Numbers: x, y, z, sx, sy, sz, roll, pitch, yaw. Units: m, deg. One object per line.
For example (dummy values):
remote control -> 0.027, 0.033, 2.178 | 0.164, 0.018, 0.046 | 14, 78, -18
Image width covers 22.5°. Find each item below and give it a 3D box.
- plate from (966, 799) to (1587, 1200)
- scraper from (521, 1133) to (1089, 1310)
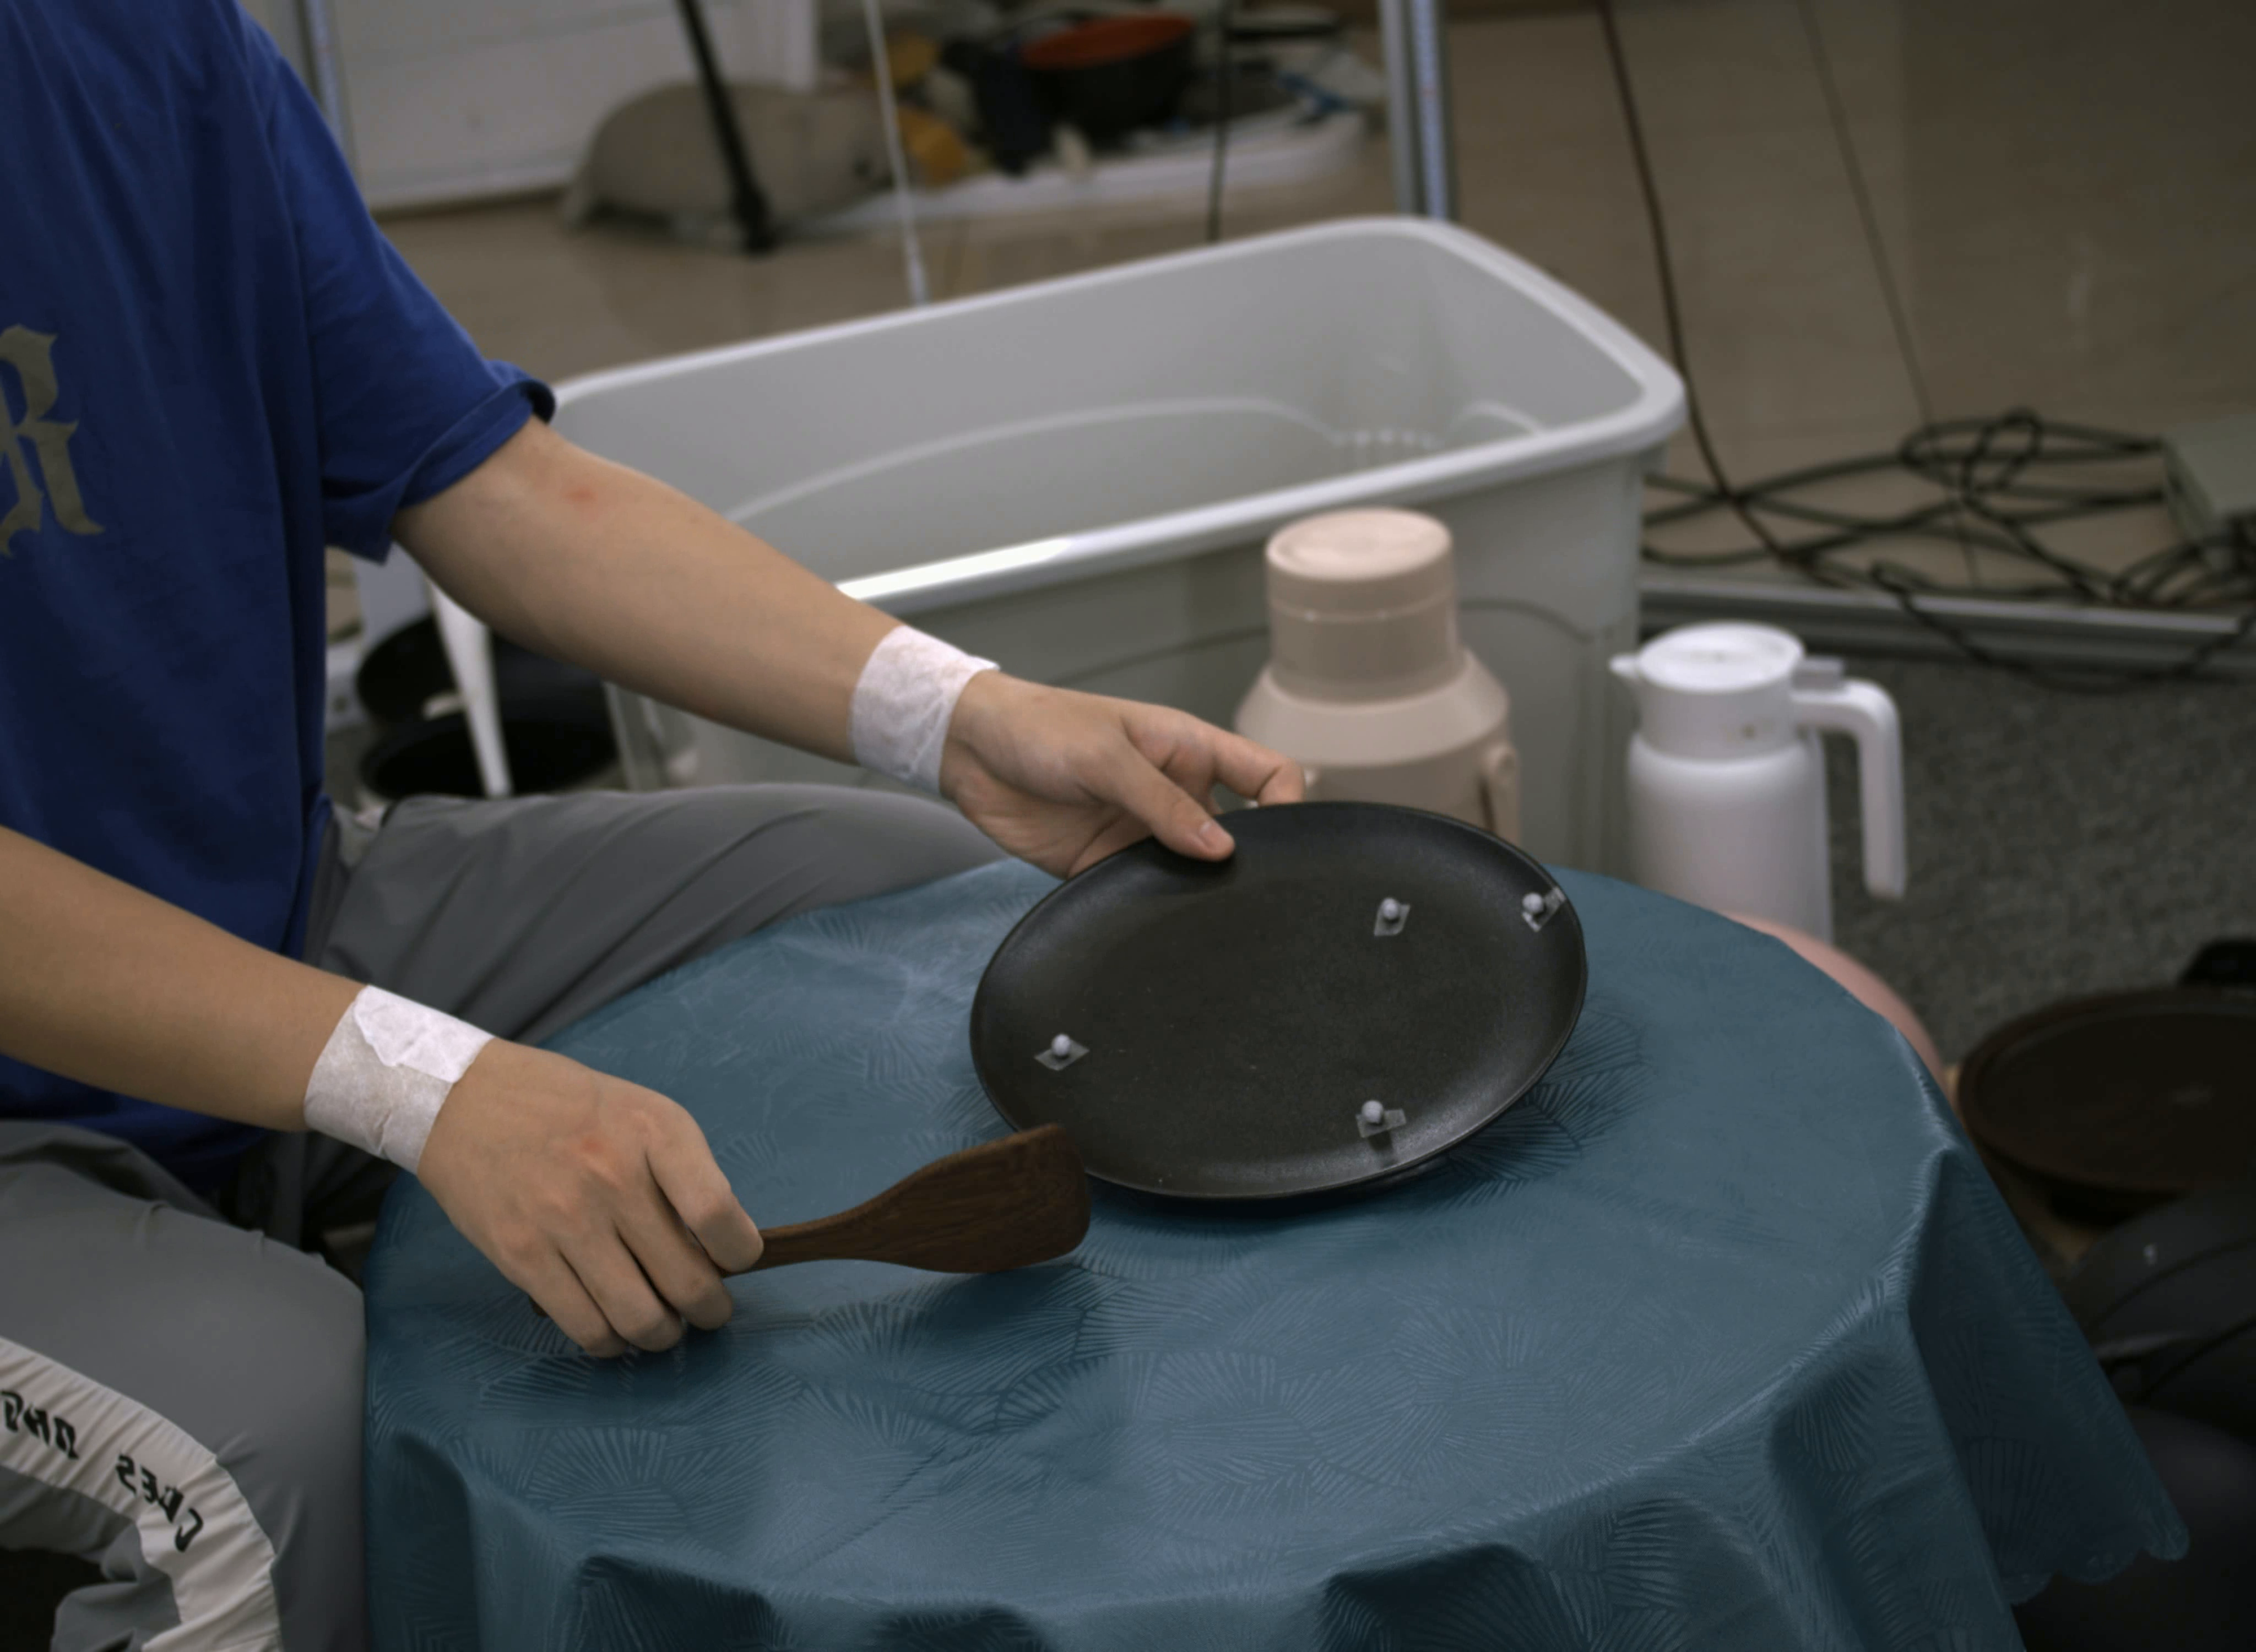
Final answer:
plate -> 0.058, 0.071, 2.204 | 0.244, 0.024, 0.240 | -7, 37, 5
scraper -> -0.118, 0.152, 2.080 | 0.211, 0.077, 0.010 | -10, 54, 3
